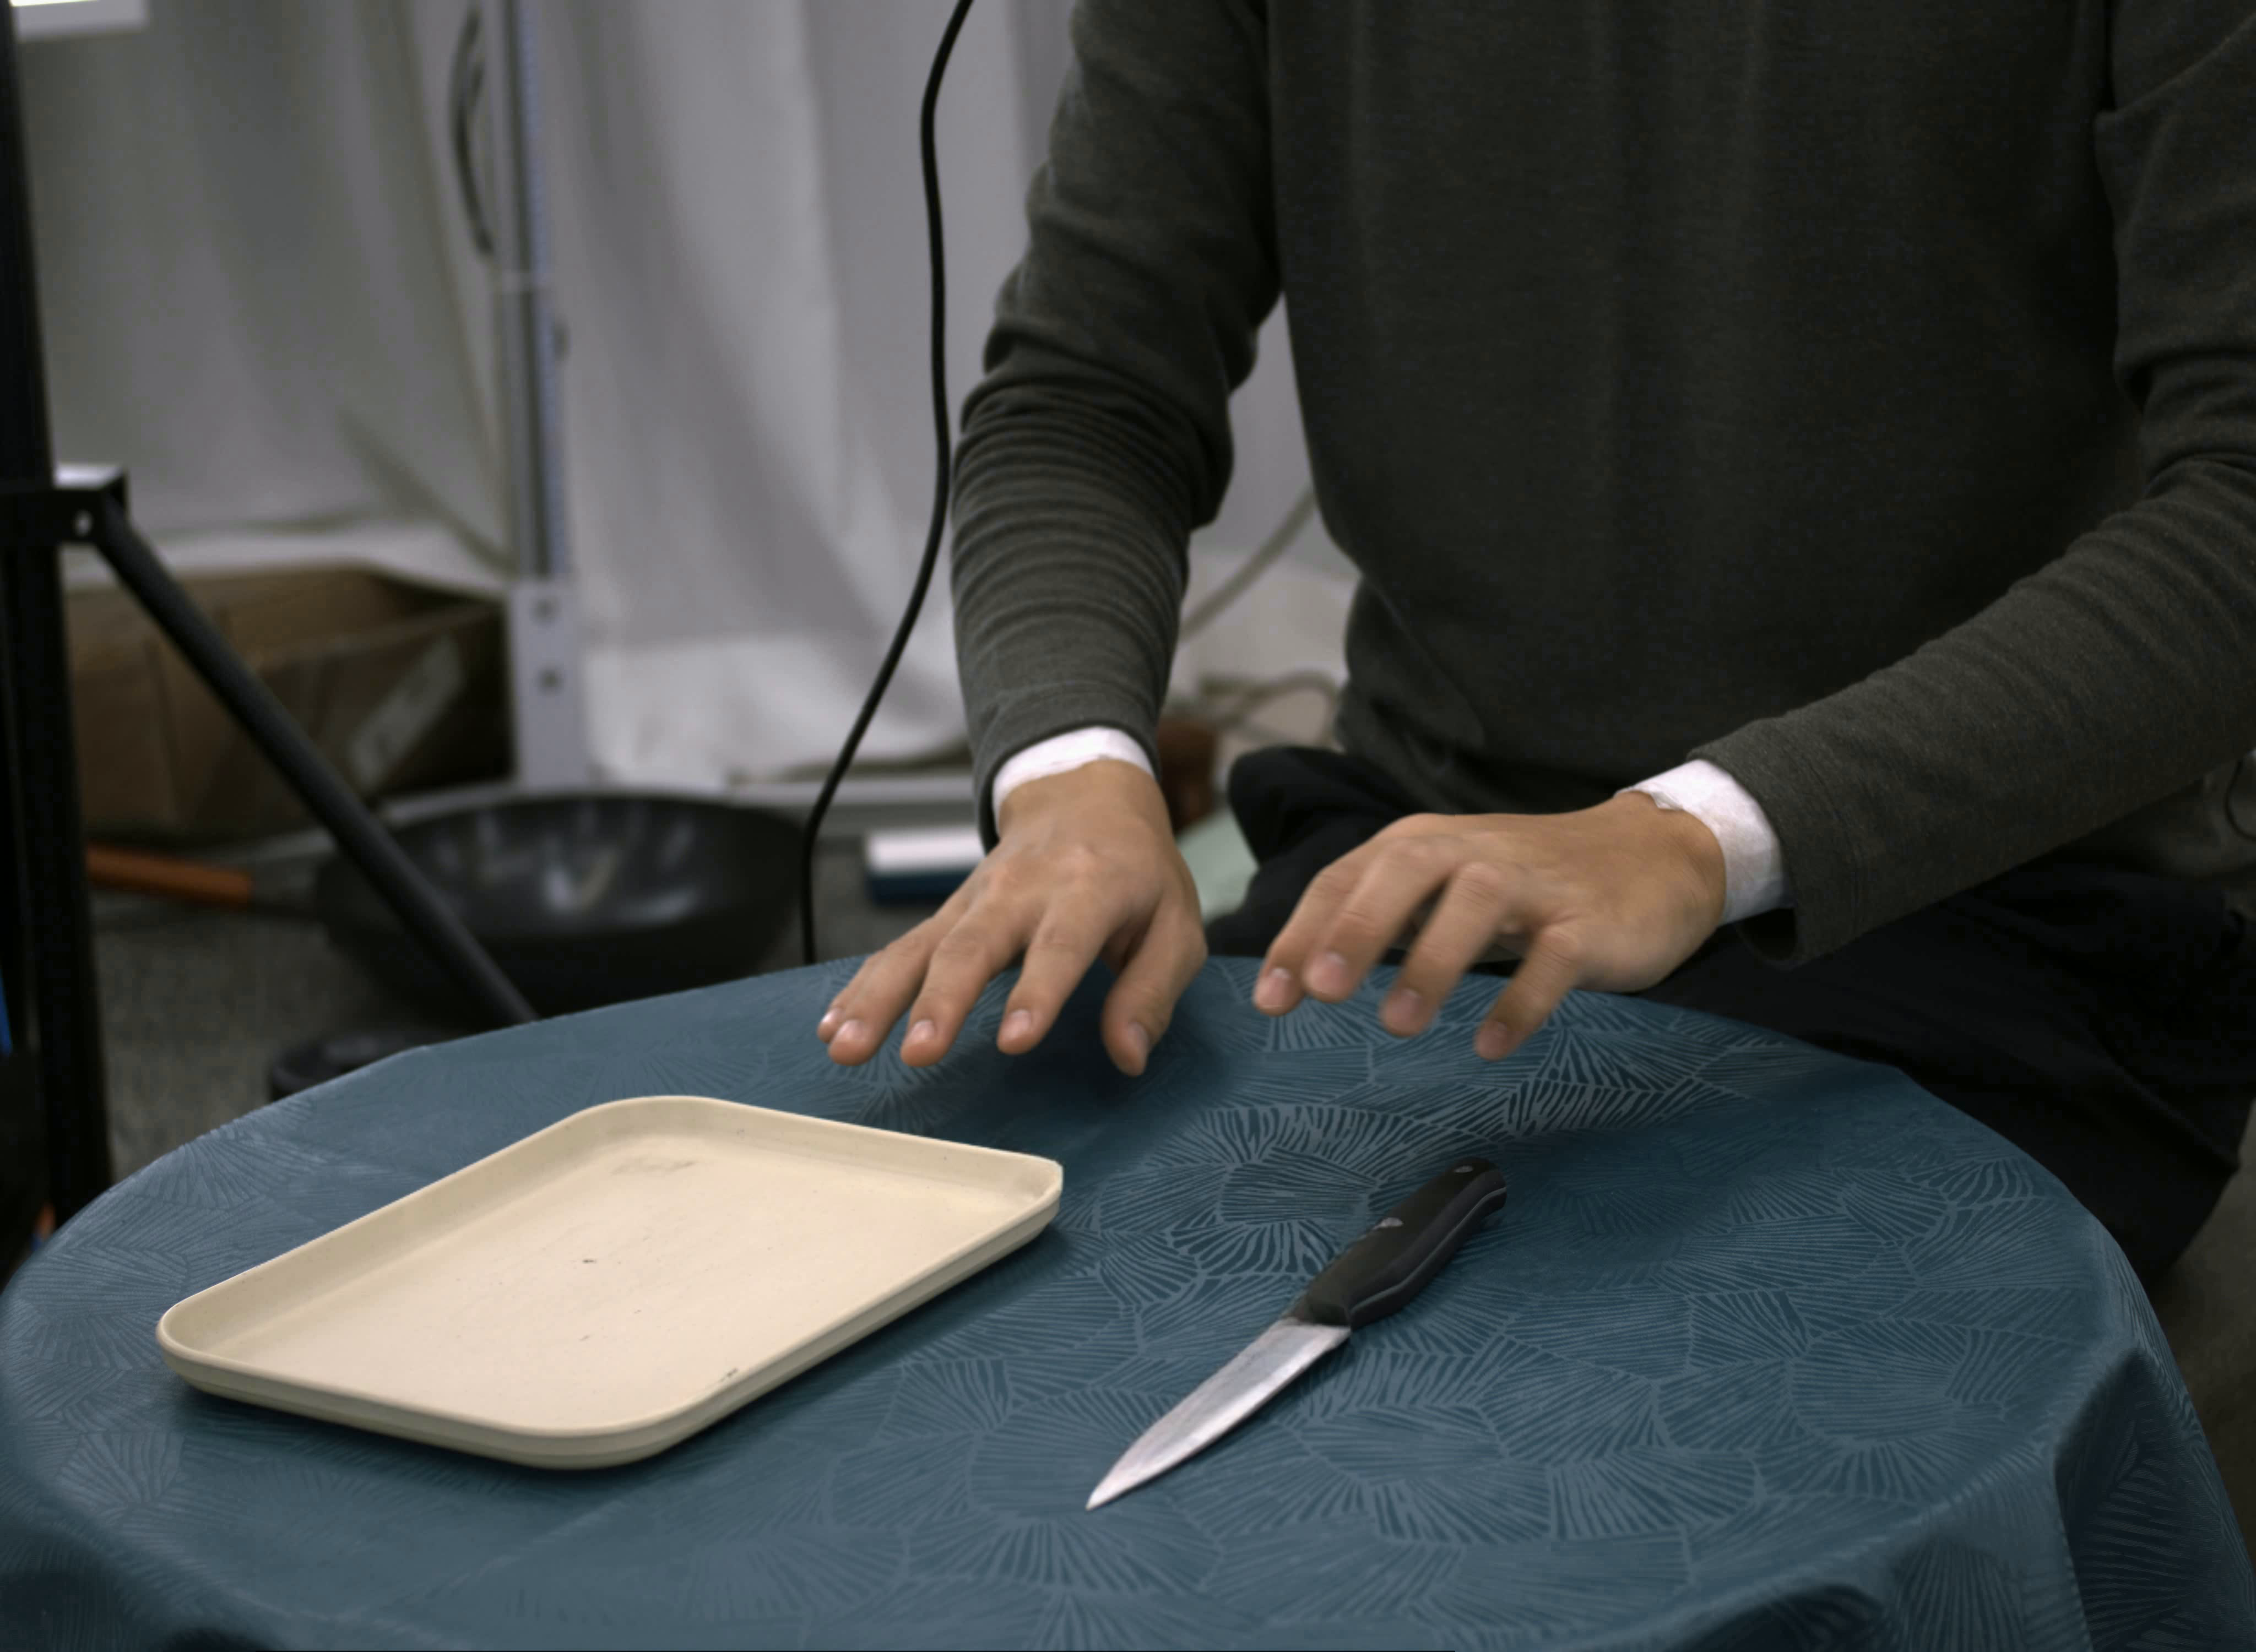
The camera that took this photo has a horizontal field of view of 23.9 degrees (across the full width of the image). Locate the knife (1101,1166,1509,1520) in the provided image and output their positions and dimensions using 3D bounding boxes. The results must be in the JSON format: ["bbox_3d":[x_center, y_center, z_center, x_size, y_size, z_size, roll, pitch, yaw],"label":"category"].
[{"bbox_3d":[0.047,0.138,1.427,0.025,0.016,0.234,3,19,29],"label":"knife"}]

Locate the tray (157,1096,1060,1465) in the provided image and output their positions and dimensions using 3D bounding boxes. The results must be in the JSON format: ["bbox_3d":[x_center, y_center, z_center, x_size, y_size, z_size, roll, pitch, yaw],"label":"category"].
[{"bbox_3d":[-0.141,0.125,1.490,0.174,0.017,0.235,7,18,32],"label":"tray"}]
